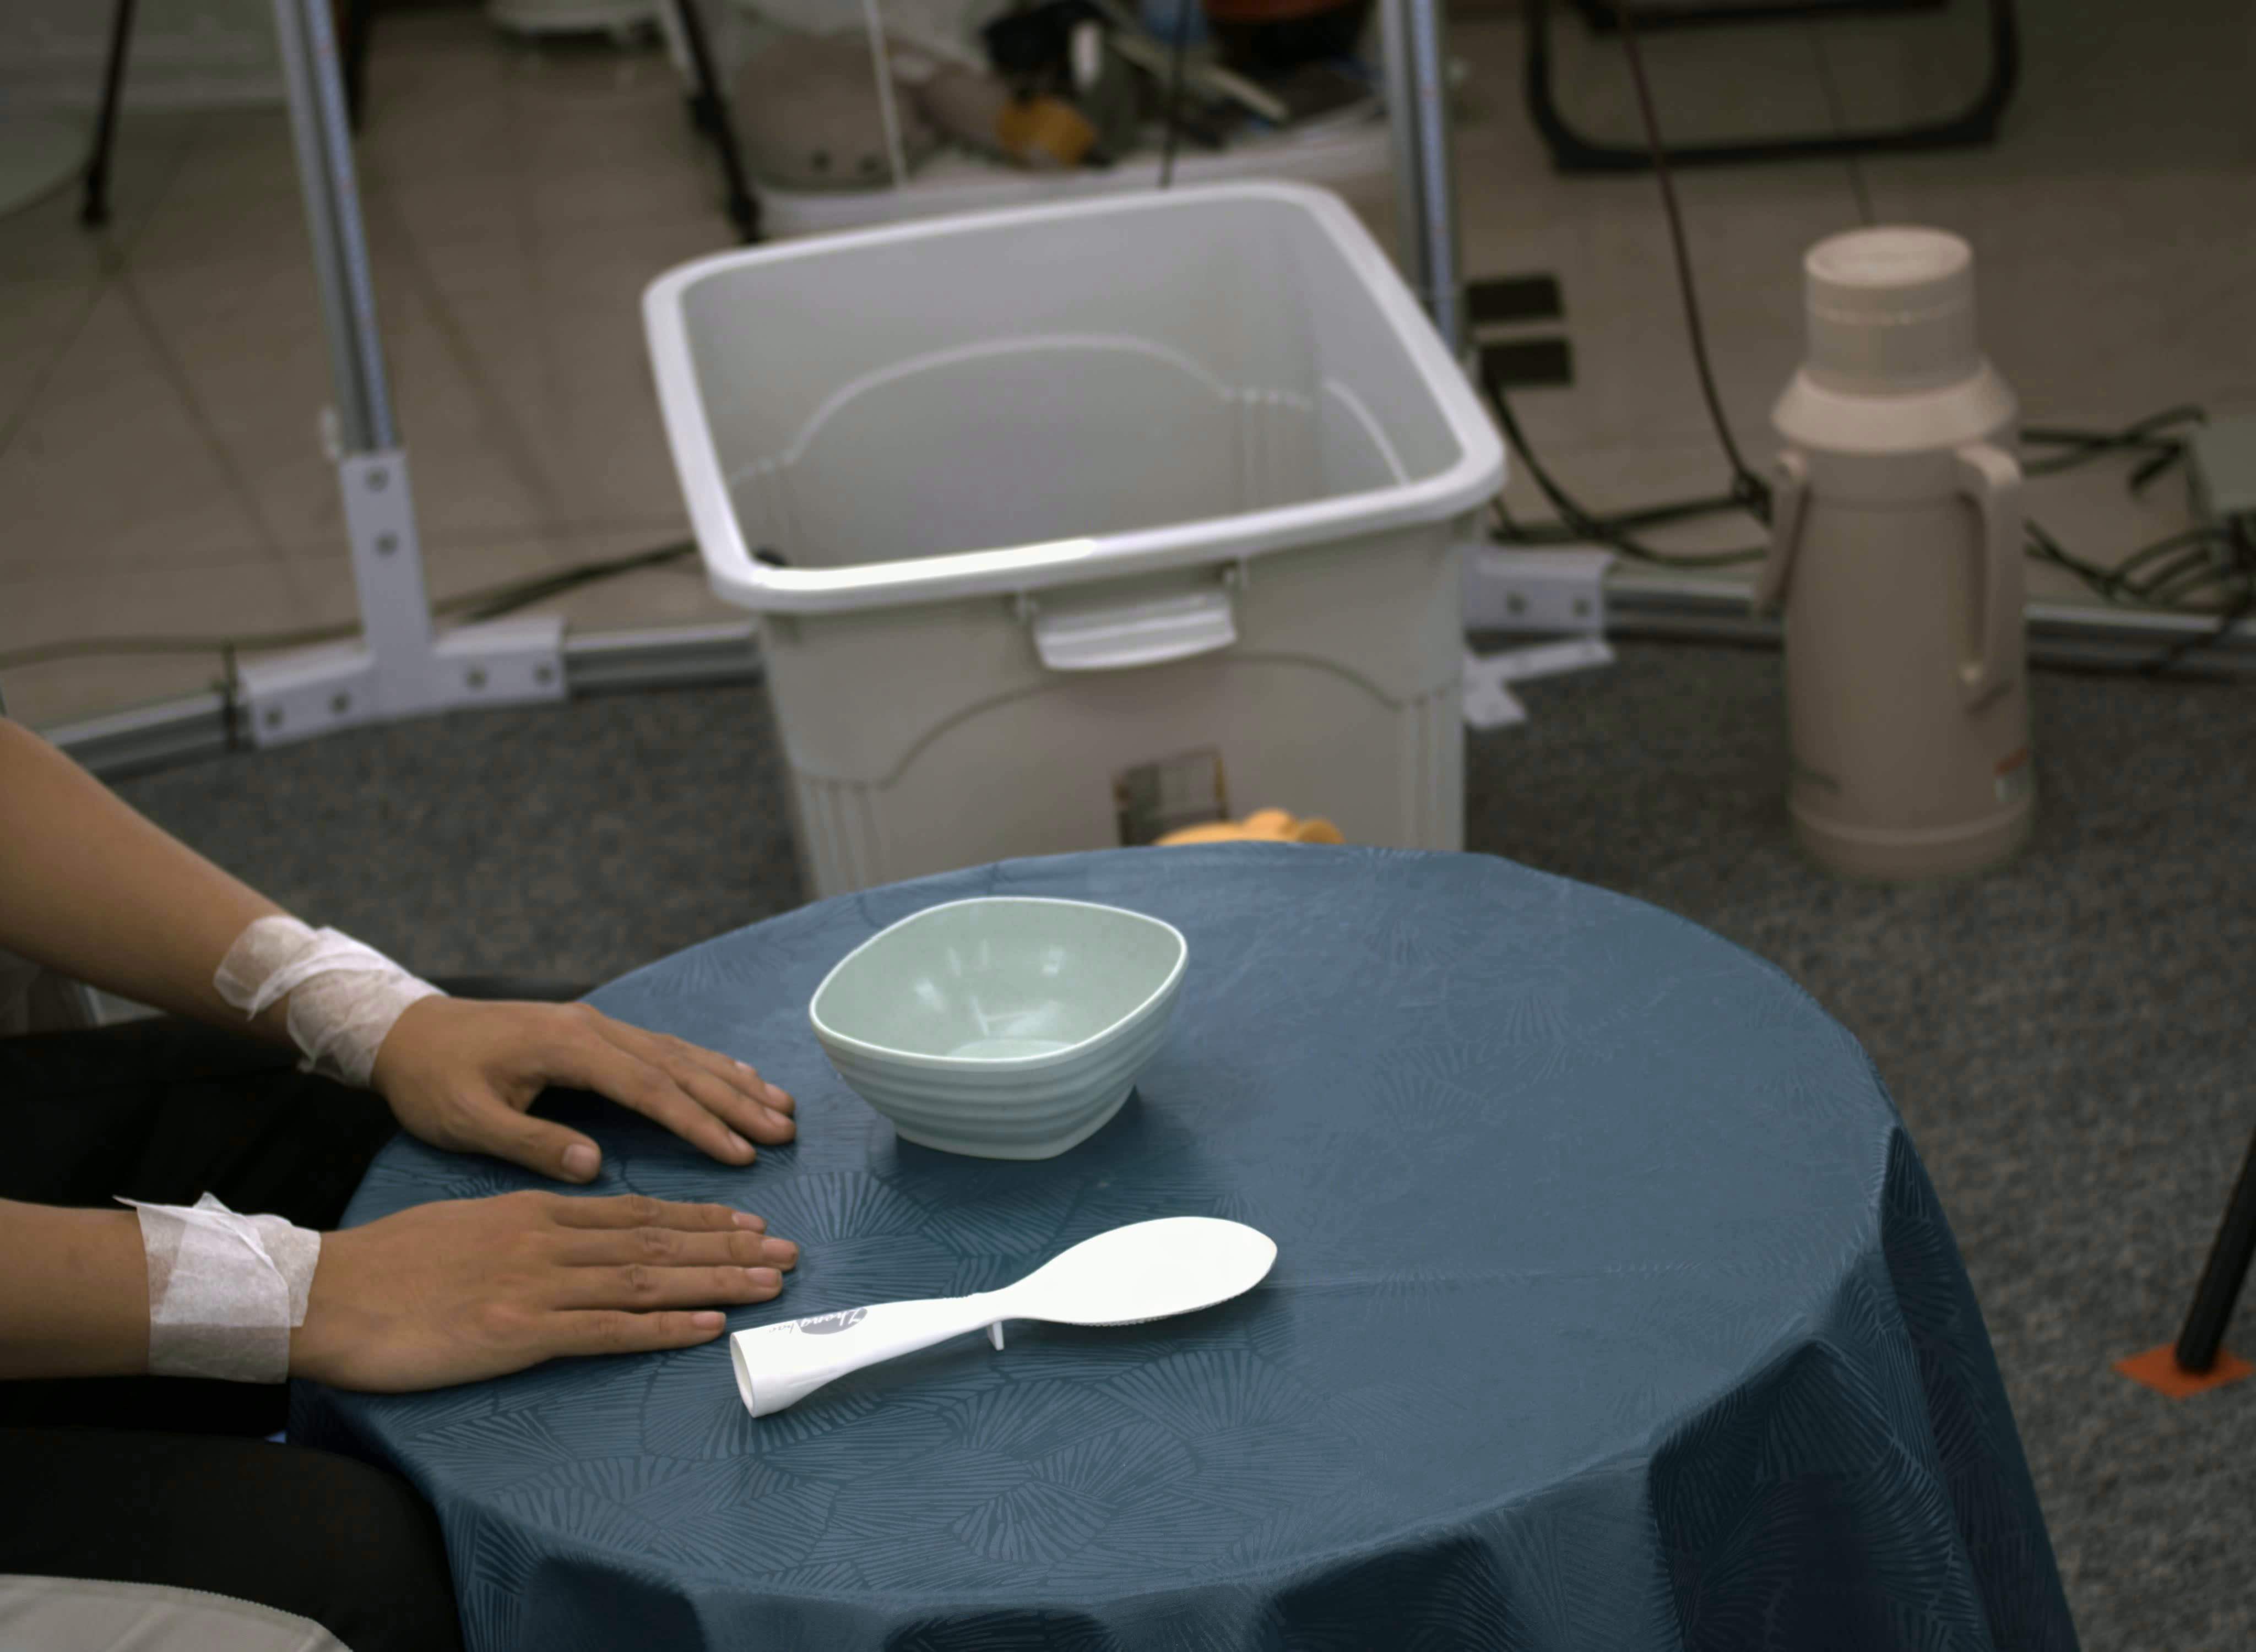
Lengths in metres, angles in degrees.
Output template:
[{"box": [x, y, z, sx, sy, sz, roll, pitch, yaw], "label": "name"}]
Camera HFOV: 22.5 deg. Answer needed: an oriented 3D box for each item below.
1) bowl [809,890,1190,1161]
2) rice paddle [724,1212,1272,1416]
[{"box": [-0.048, 0.083, 2.214, 0.151, 0.059, 0.149, -4, 27, 2], "label": "bowl"}, {"box": [-0.045, 0.172, 2.054, 0.204, 0.030, 0.068, -14, 28, -15], "label": "rice paddle"}]
